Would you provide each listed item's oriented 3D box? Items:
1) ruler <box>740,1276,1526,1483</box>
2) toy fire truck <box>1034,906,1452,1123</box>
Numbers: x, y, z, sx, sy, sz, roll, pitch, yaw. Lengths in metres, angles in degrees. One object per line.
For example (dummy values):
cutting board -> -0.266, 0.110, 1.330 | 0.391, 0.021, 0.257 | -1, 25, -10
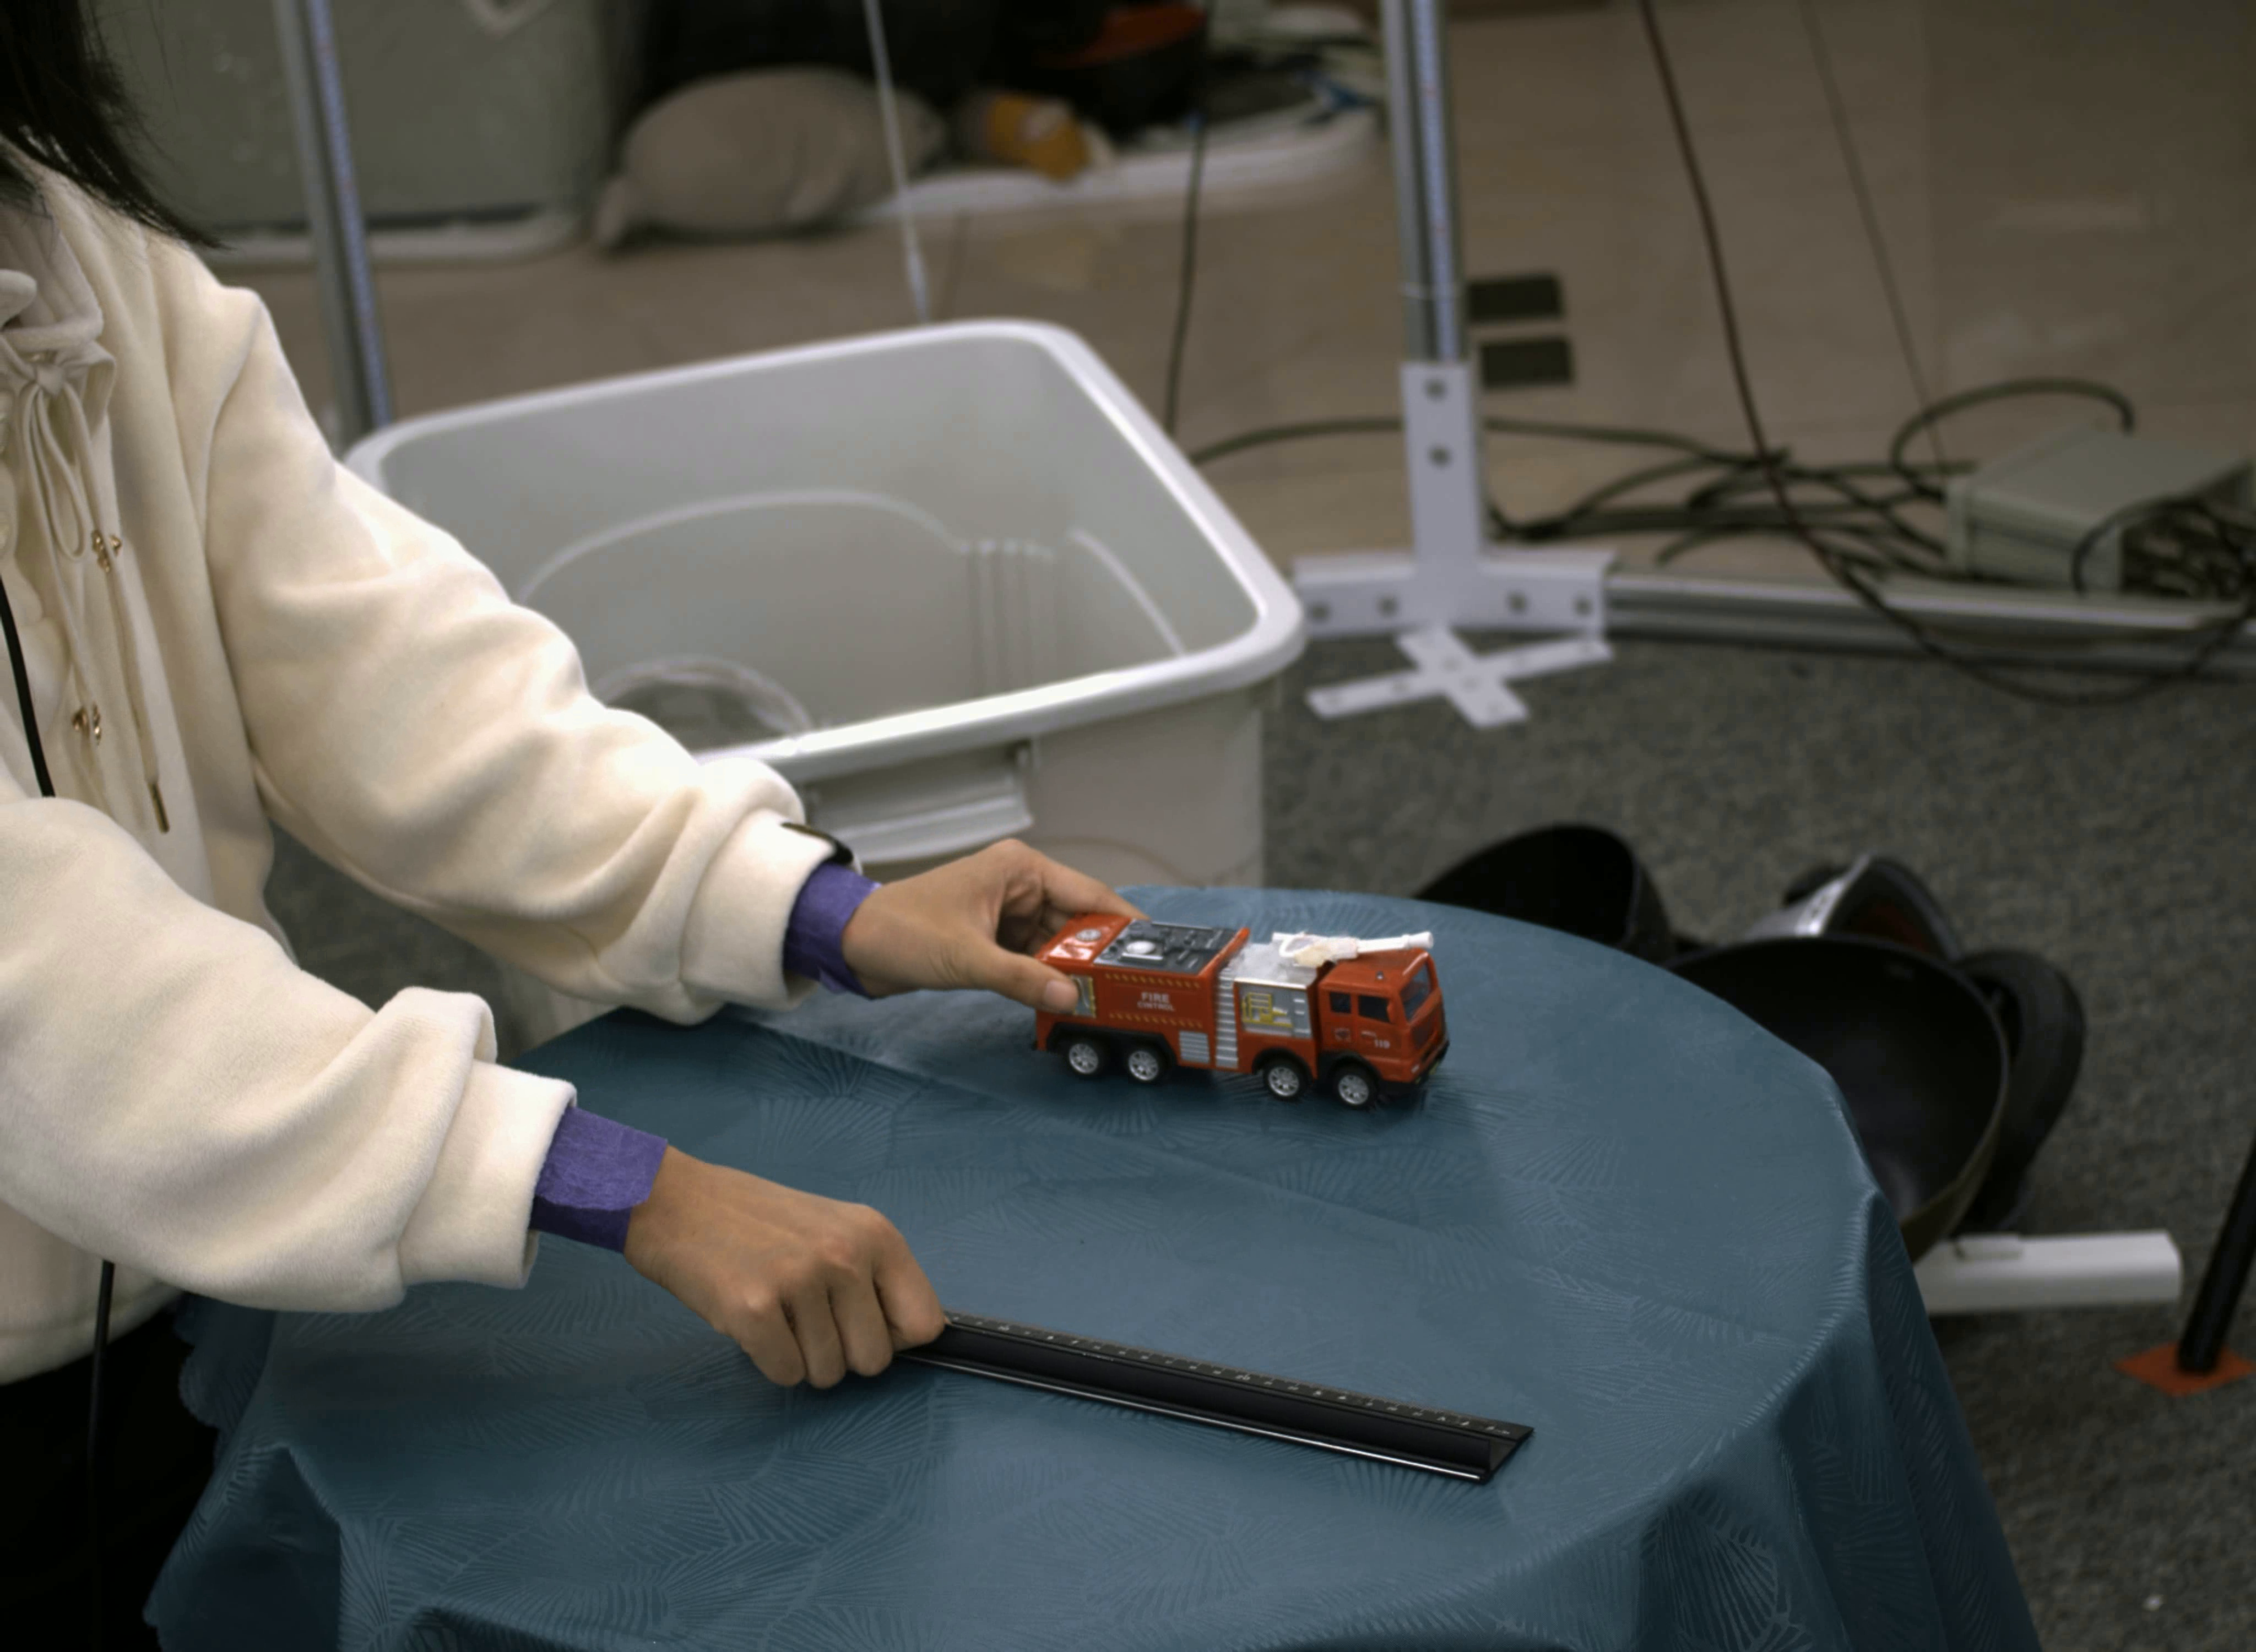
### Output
ruler -> -0.003, 0.190, 2.021 | 0.311, 0.017, 0.039 | 9, 27, 31
toy fire truck -> 0.045, 0.070, 2.215 | 0.167, 0.071, 0.053 | 4, 27, 24
